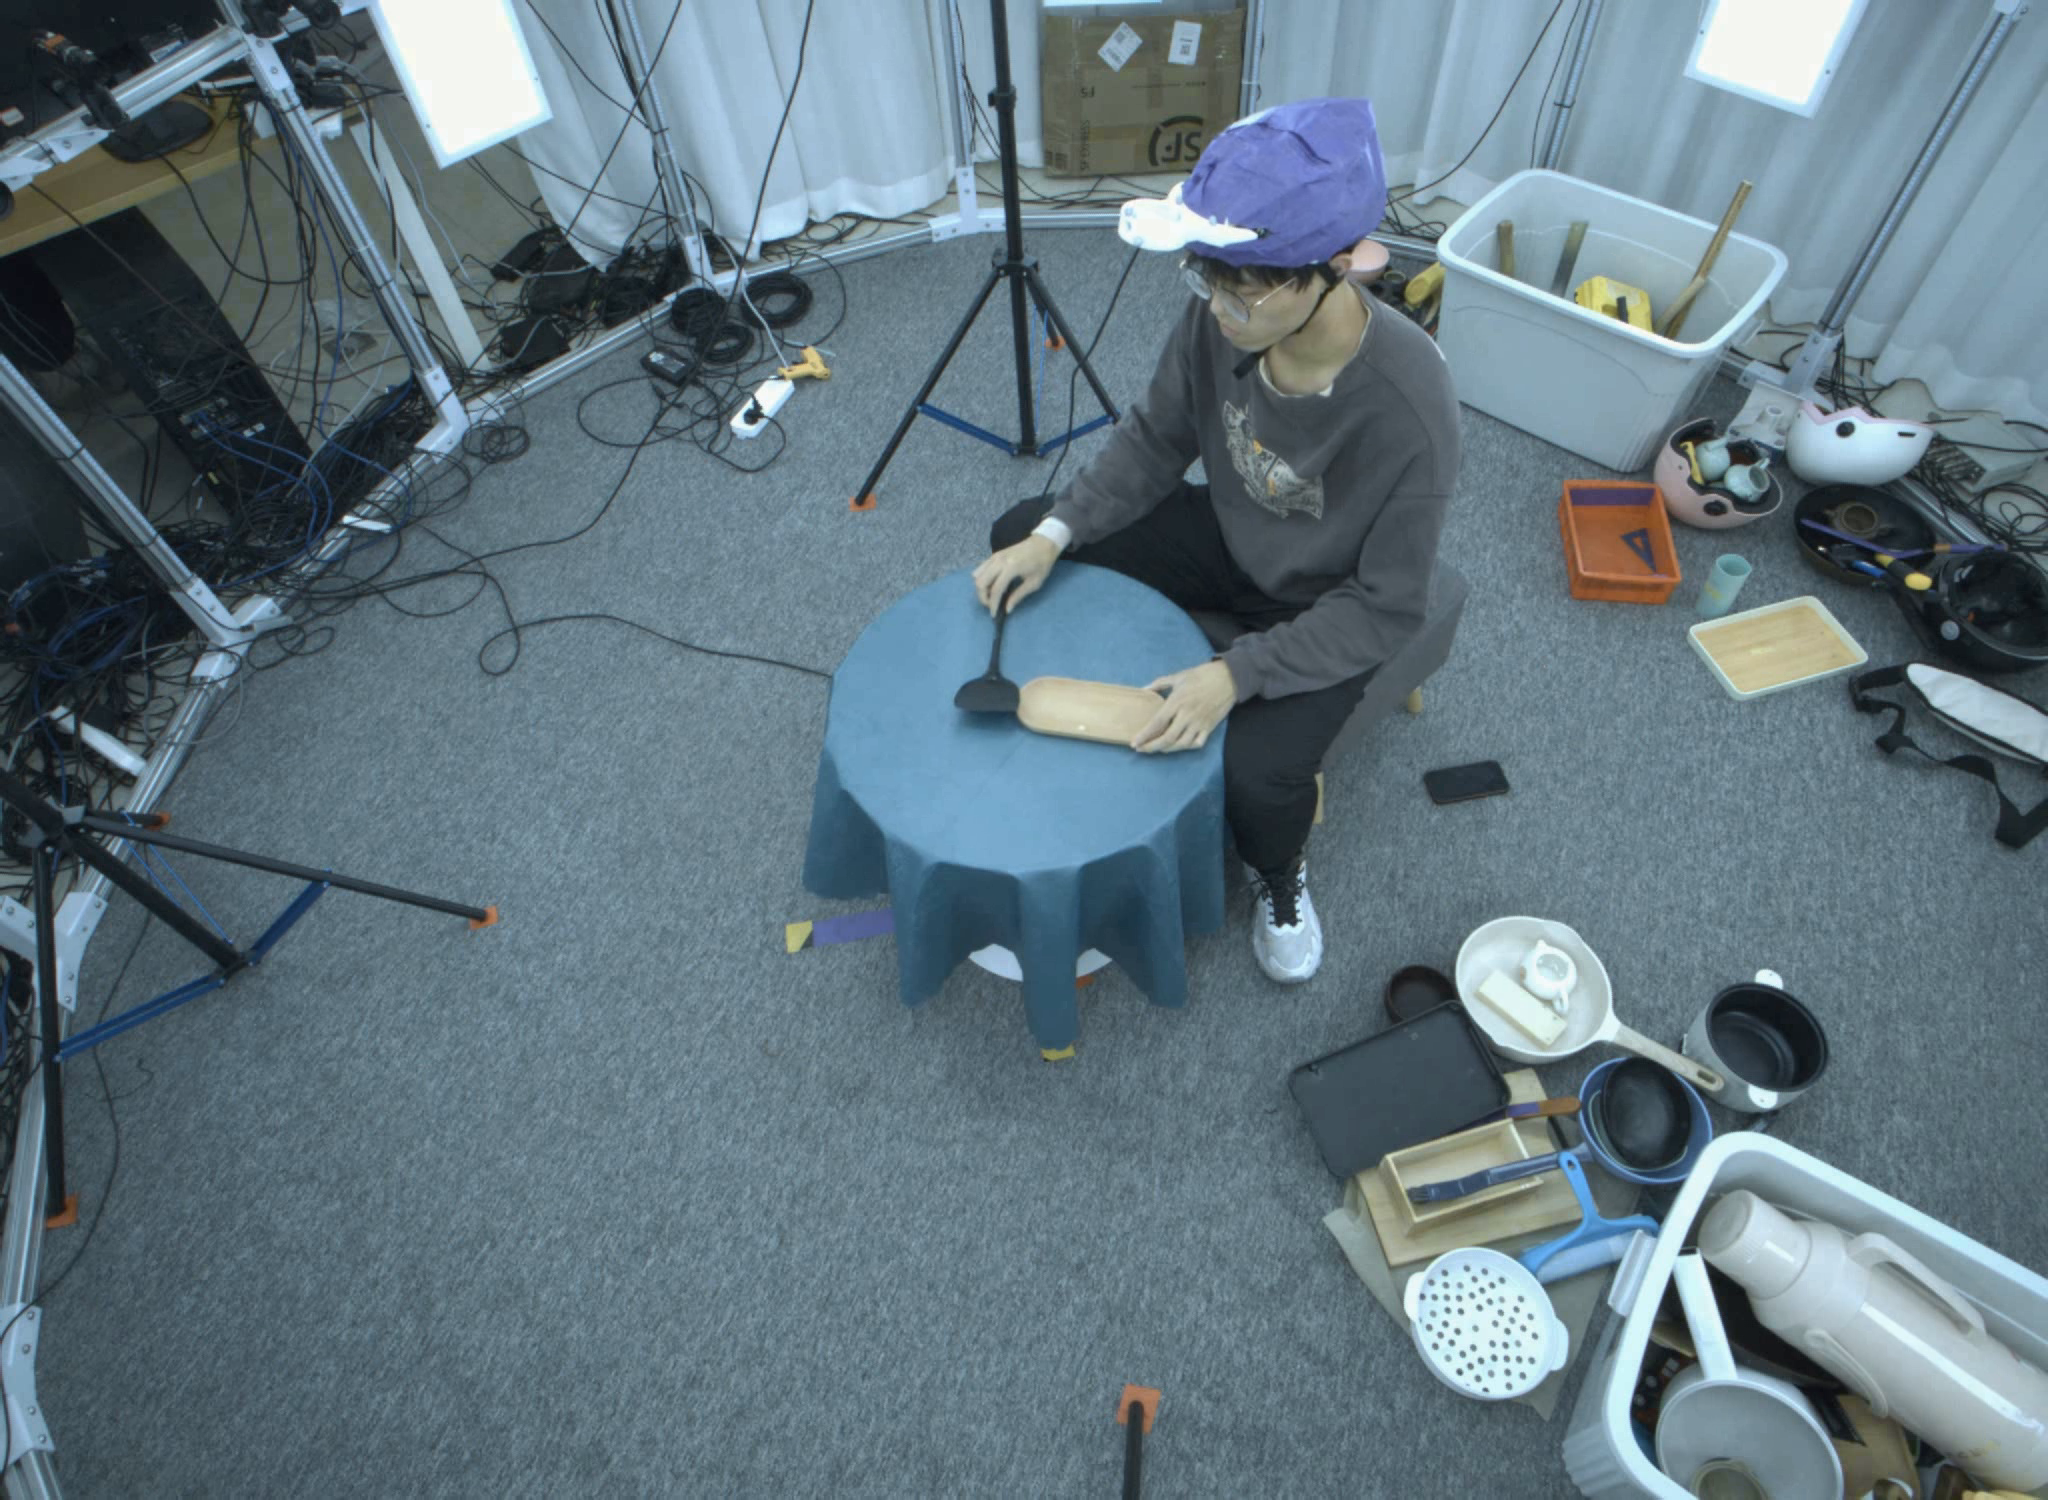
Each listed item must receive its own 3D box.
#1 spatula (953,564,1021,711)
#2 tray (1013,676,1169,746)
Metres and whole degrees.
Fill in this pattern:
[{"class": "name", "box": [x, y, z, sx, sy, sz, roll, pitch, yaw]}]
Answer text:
[{"class": "spatula", "box": [-0.042, -0.179, 1.891, 0.099, 0.041, 0.323, 5, 56, 2]}, {"class": "tray", "box": [0.098, -0.057, 1.813, 0.229, 0.020, 0.101, 8, 54, 9]}]
